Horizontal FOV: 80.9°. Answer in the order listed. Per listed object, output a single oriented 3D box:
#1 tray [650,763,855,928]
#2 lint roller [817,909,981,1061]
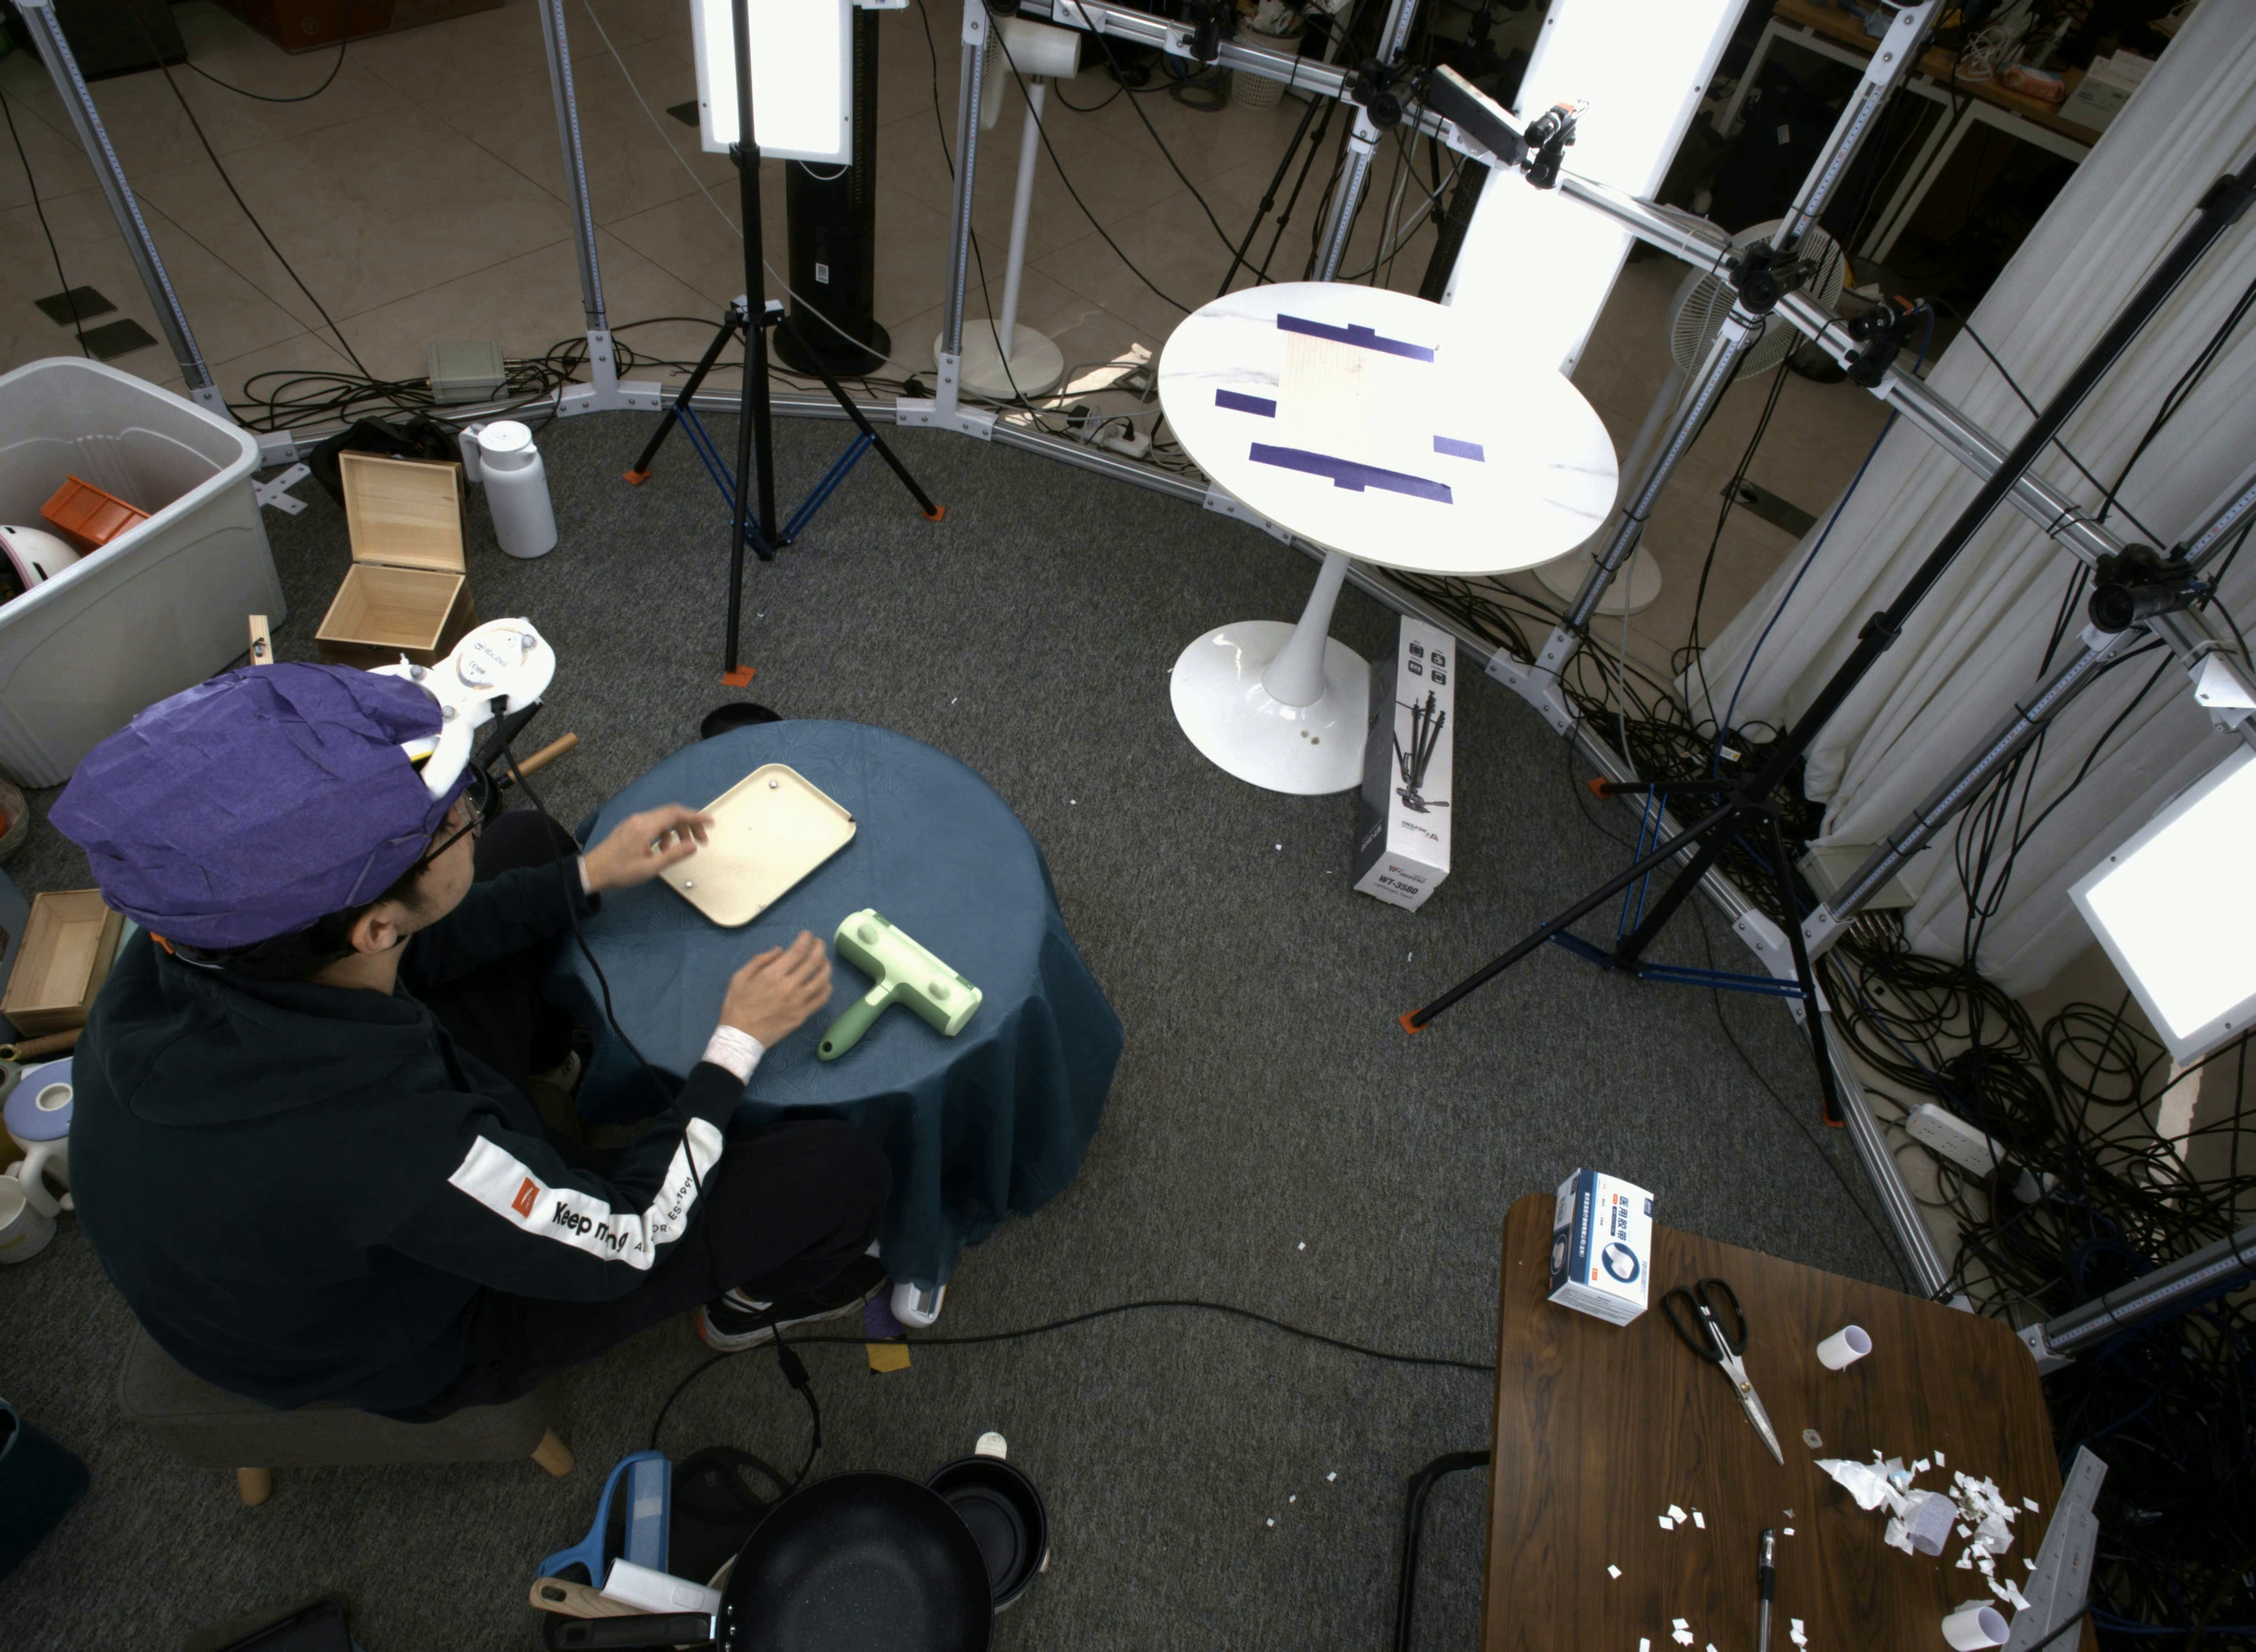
[{"bbox_3d":[-0.487,0.022,1.685,0.168,0.018,0.239,35,53,13],"label":"tray"},{"bbox_3d":[-0.305,0.202,1.562,0.195,0.084,0.183,35,49,13],"label":"lint roller"}]
